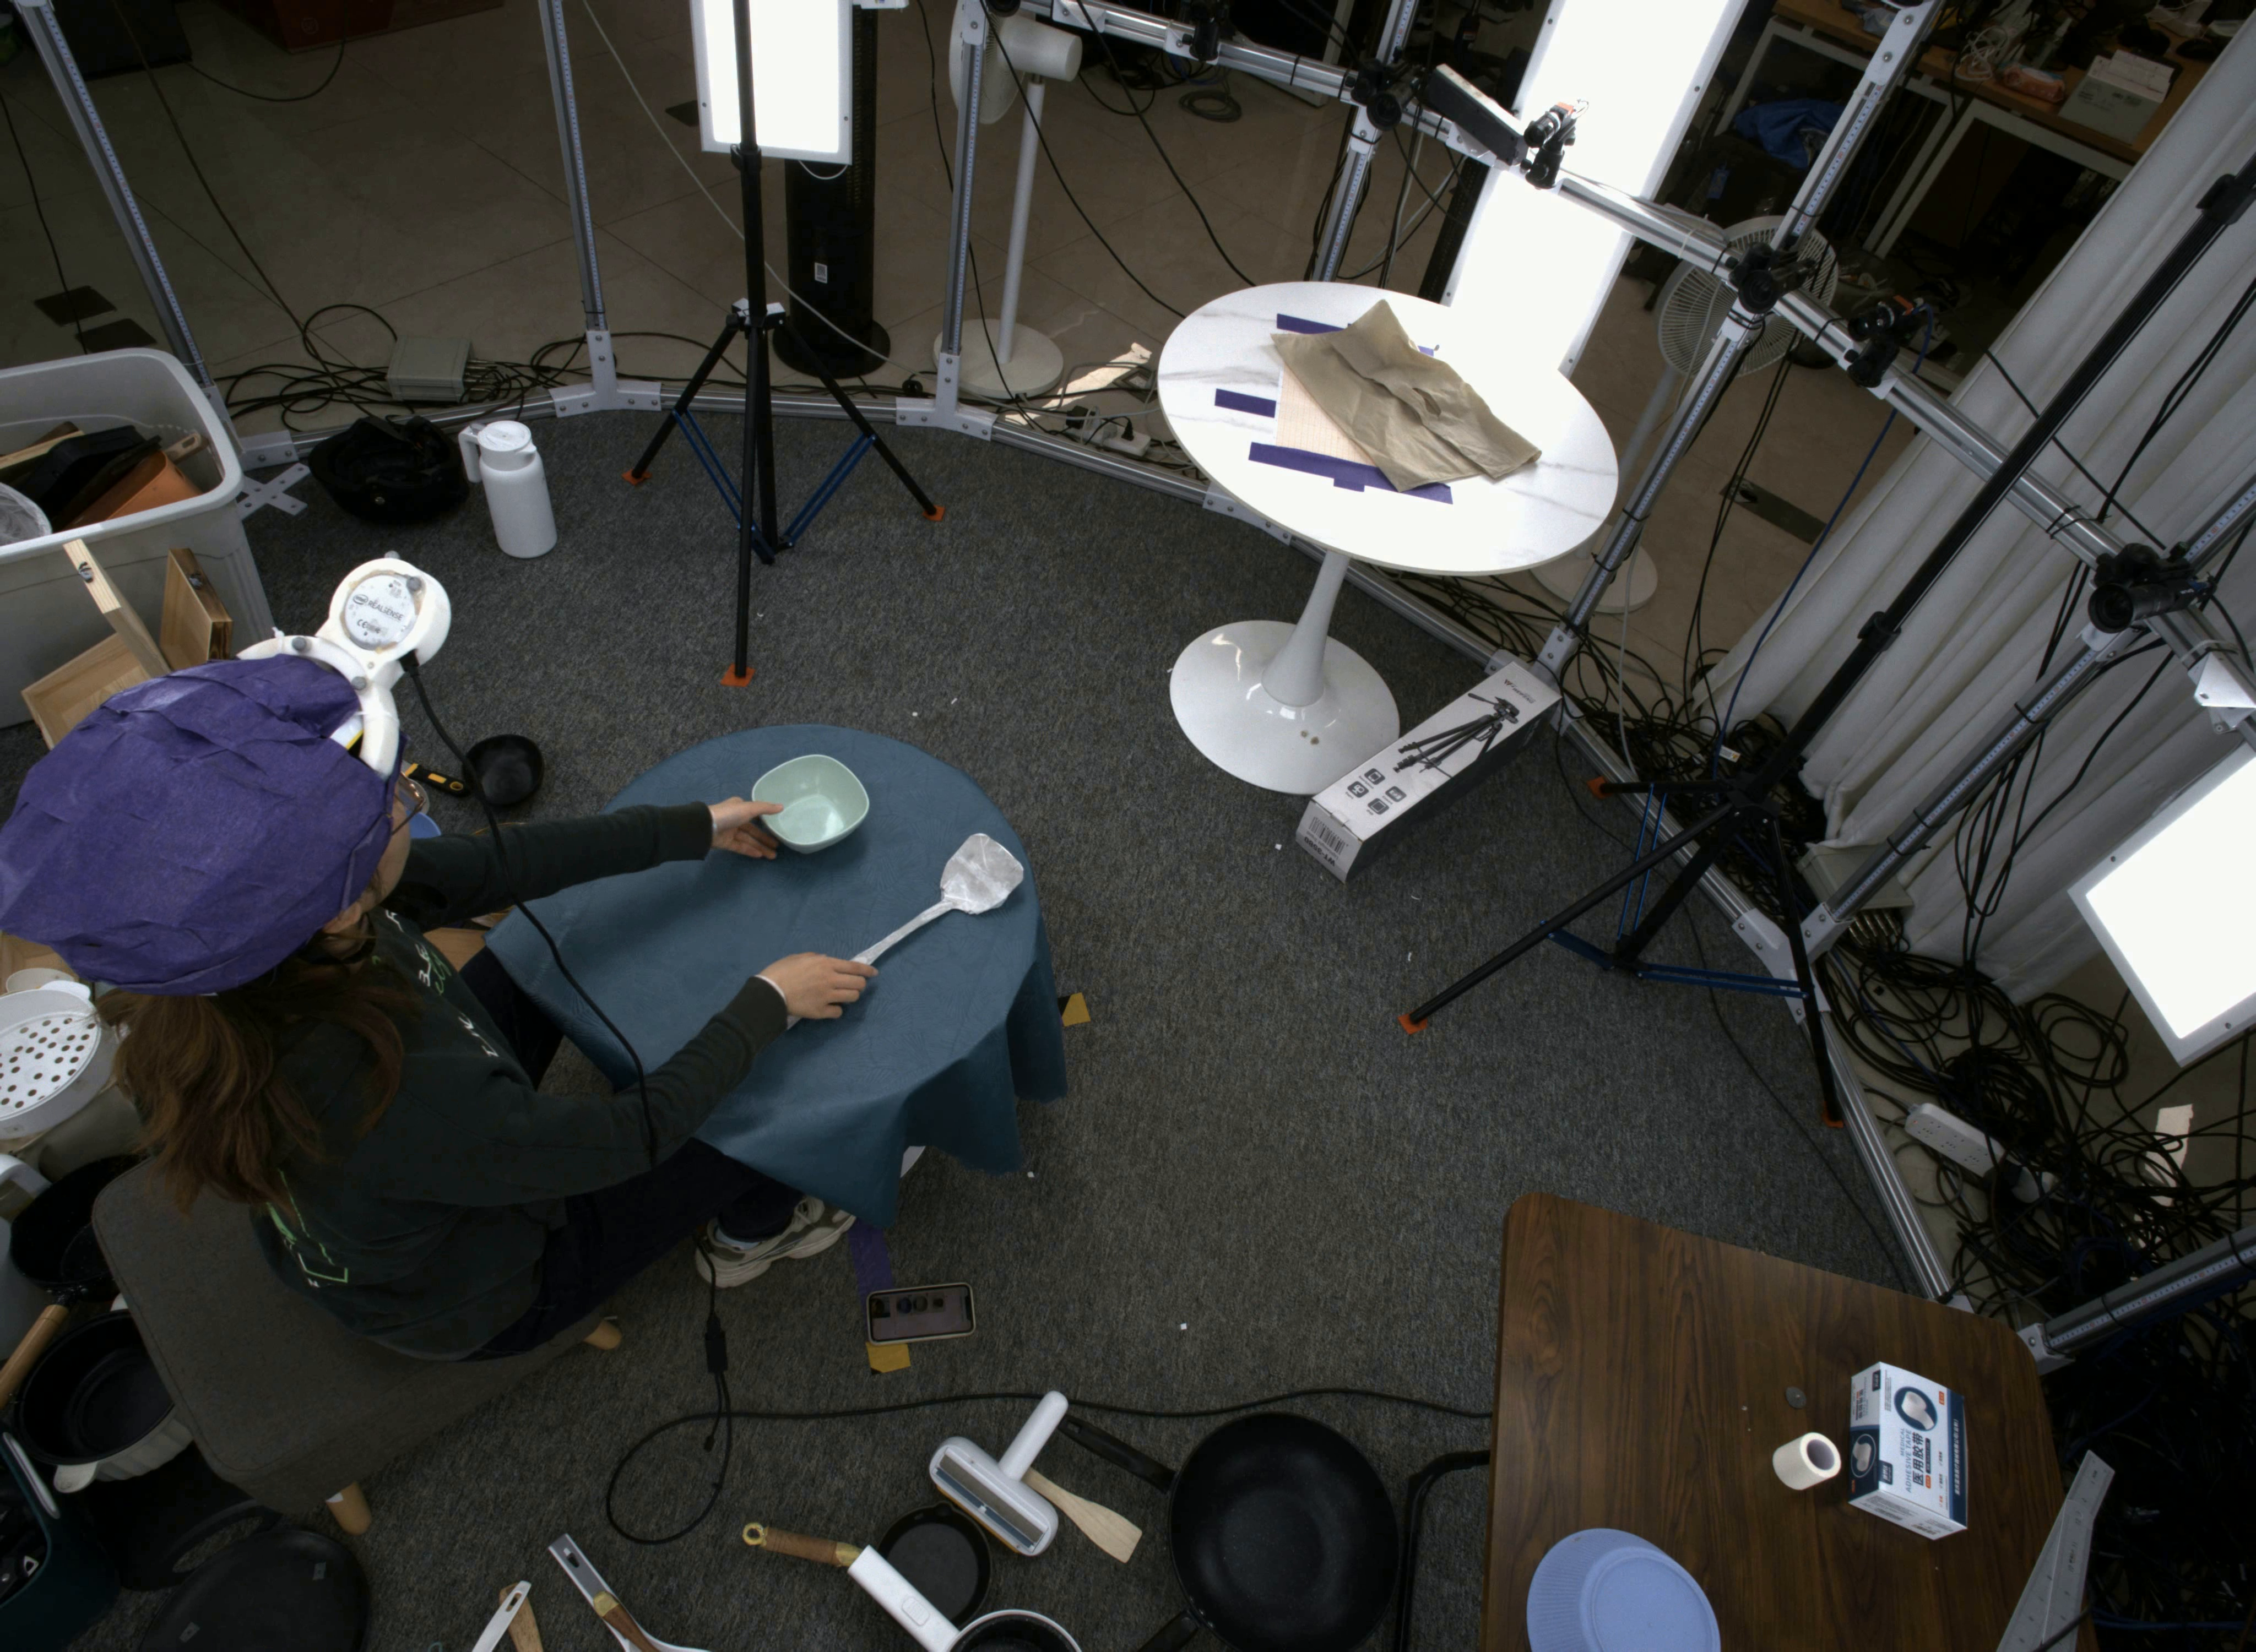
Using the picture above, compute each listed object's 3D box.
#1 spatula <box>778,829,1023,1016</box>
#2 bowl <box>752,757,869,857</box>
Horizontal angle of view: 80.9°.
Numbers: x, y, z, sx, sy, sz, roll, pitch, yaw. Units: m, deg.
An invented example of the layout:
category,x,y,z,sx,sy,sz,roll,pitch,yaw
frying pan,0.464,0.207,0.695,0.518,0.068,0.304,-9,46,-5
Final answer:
category,x,y,z,sx,sy,sz,roll,pitch,yaw
spatula,-0.288,0.128,1.644,0.097,0.045,0.366,43,55,16
bowl,-0.417,-0.017,1.710,0.151,0.060,0.149,7,52,-7
